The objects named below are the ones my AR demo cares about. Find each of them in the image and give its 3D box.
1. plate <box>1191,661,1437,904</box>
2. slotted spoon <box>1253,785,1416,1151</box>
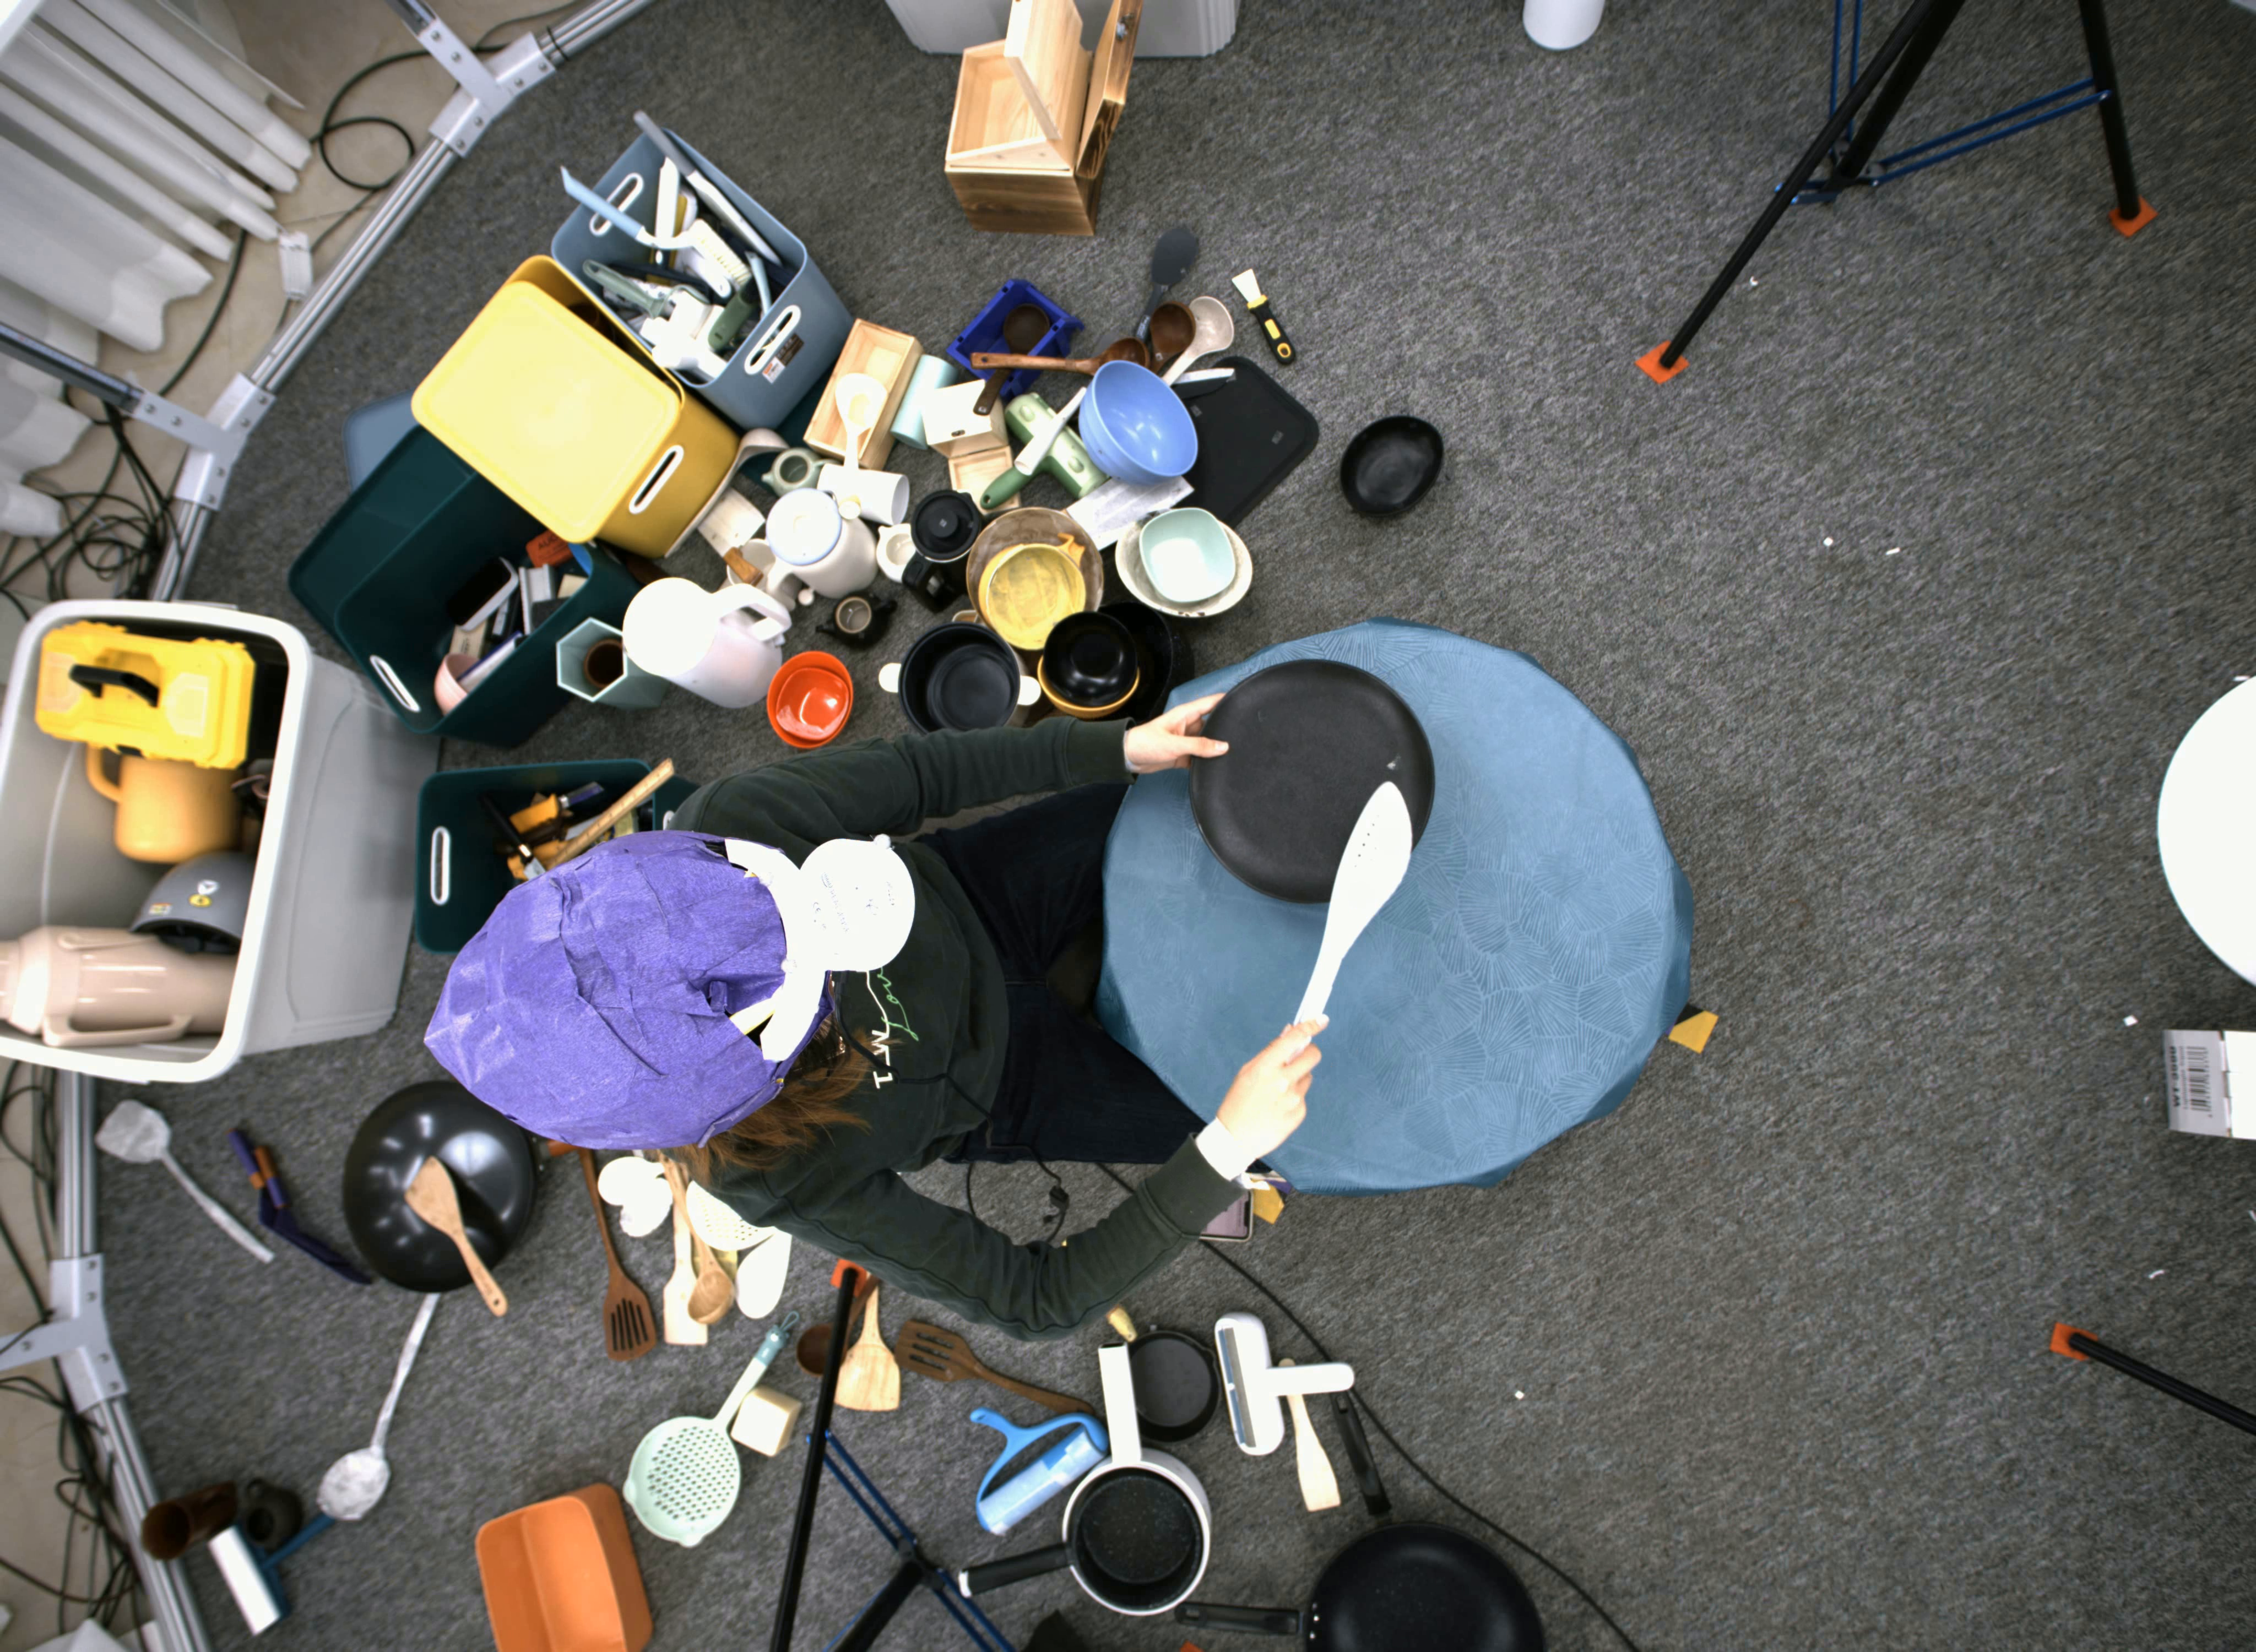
[{"bbox_3d":[0.185,-0.044,1.380,0.245,0.023,0.244,0,90,10],"label":"plate"},{"bbox_3d":[0.184,0.129,1.250,0.046,0.135,0.350,26,93,-2],"label":"slotted spoon"}]
